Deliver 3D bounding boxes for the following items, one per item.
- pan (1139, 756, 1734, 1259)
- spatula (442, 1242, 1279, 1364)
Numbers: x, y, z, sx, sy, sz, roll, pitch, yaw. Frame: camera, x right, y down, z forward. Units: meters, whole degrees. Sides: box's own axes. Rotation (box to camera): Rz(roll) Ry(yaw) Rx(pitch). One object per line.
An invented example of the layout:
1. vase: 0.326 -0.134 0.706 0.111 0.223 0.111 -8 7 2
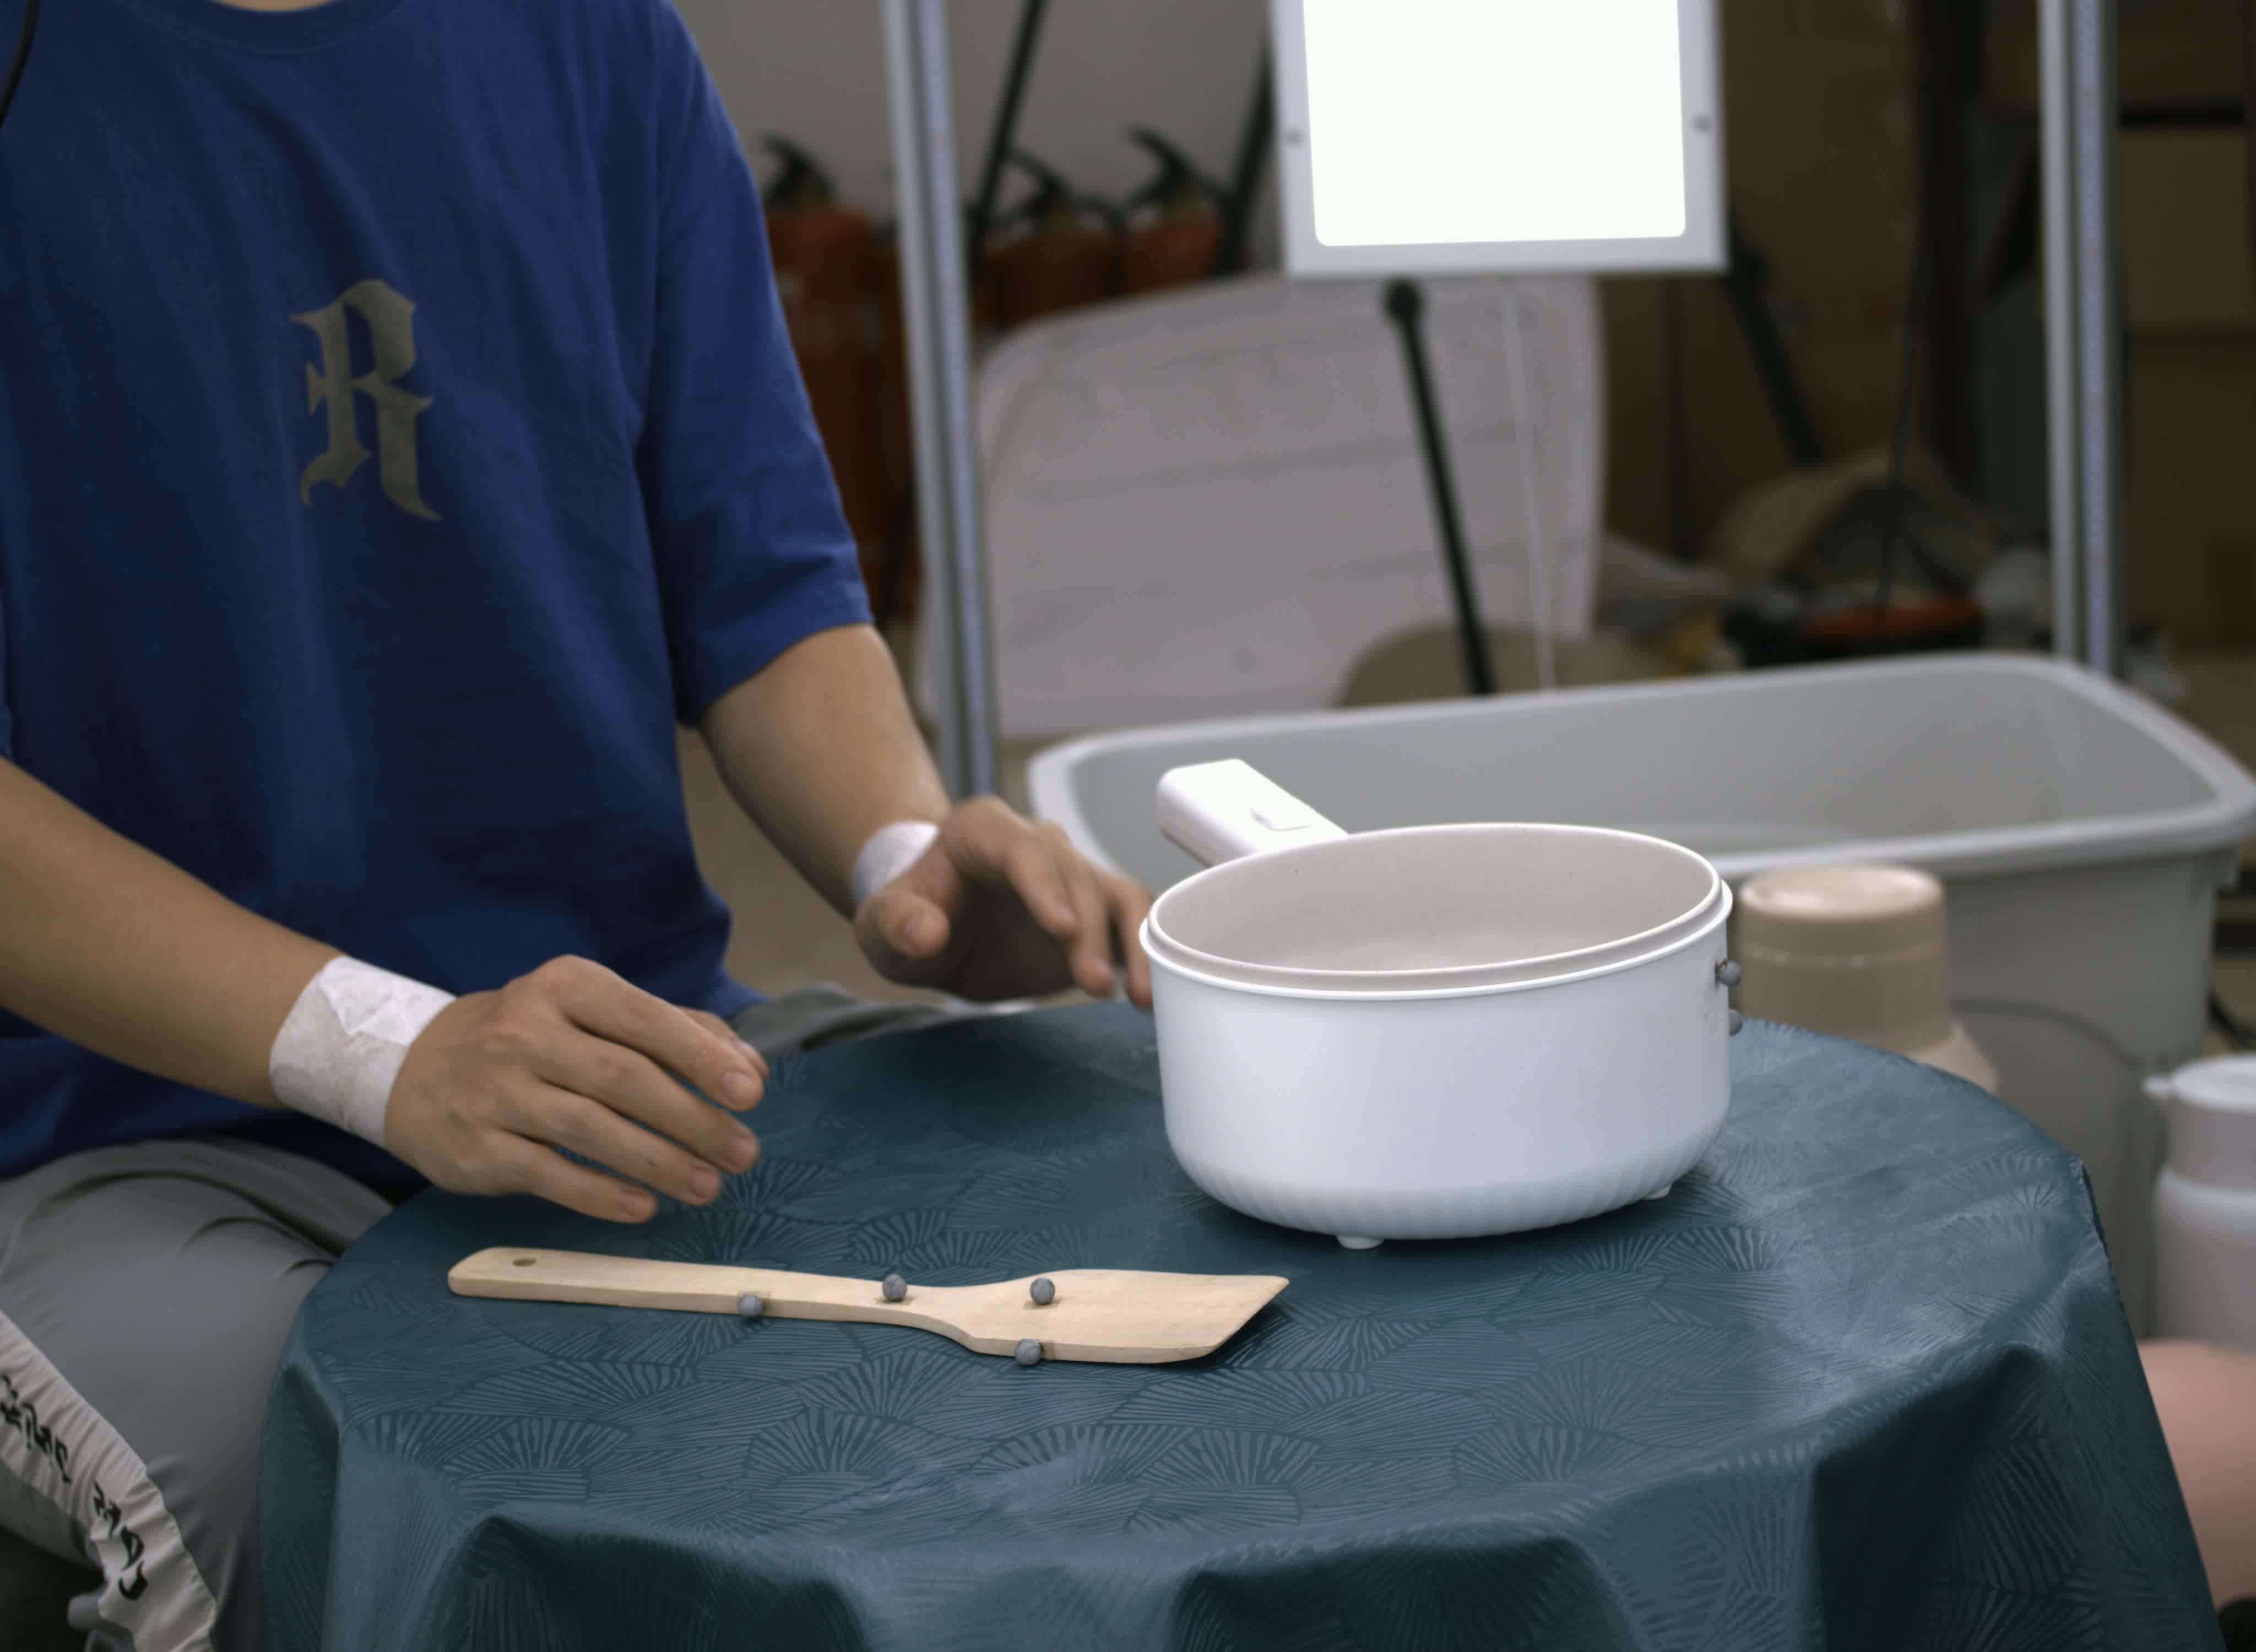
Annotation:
1. pan: 0.085 0.058 1.942 0.198 0.102 0.358 -11 15 -15
2. spatula: -0.096 0.153 1.804 0.298 0.011 0.071 2 17 26
